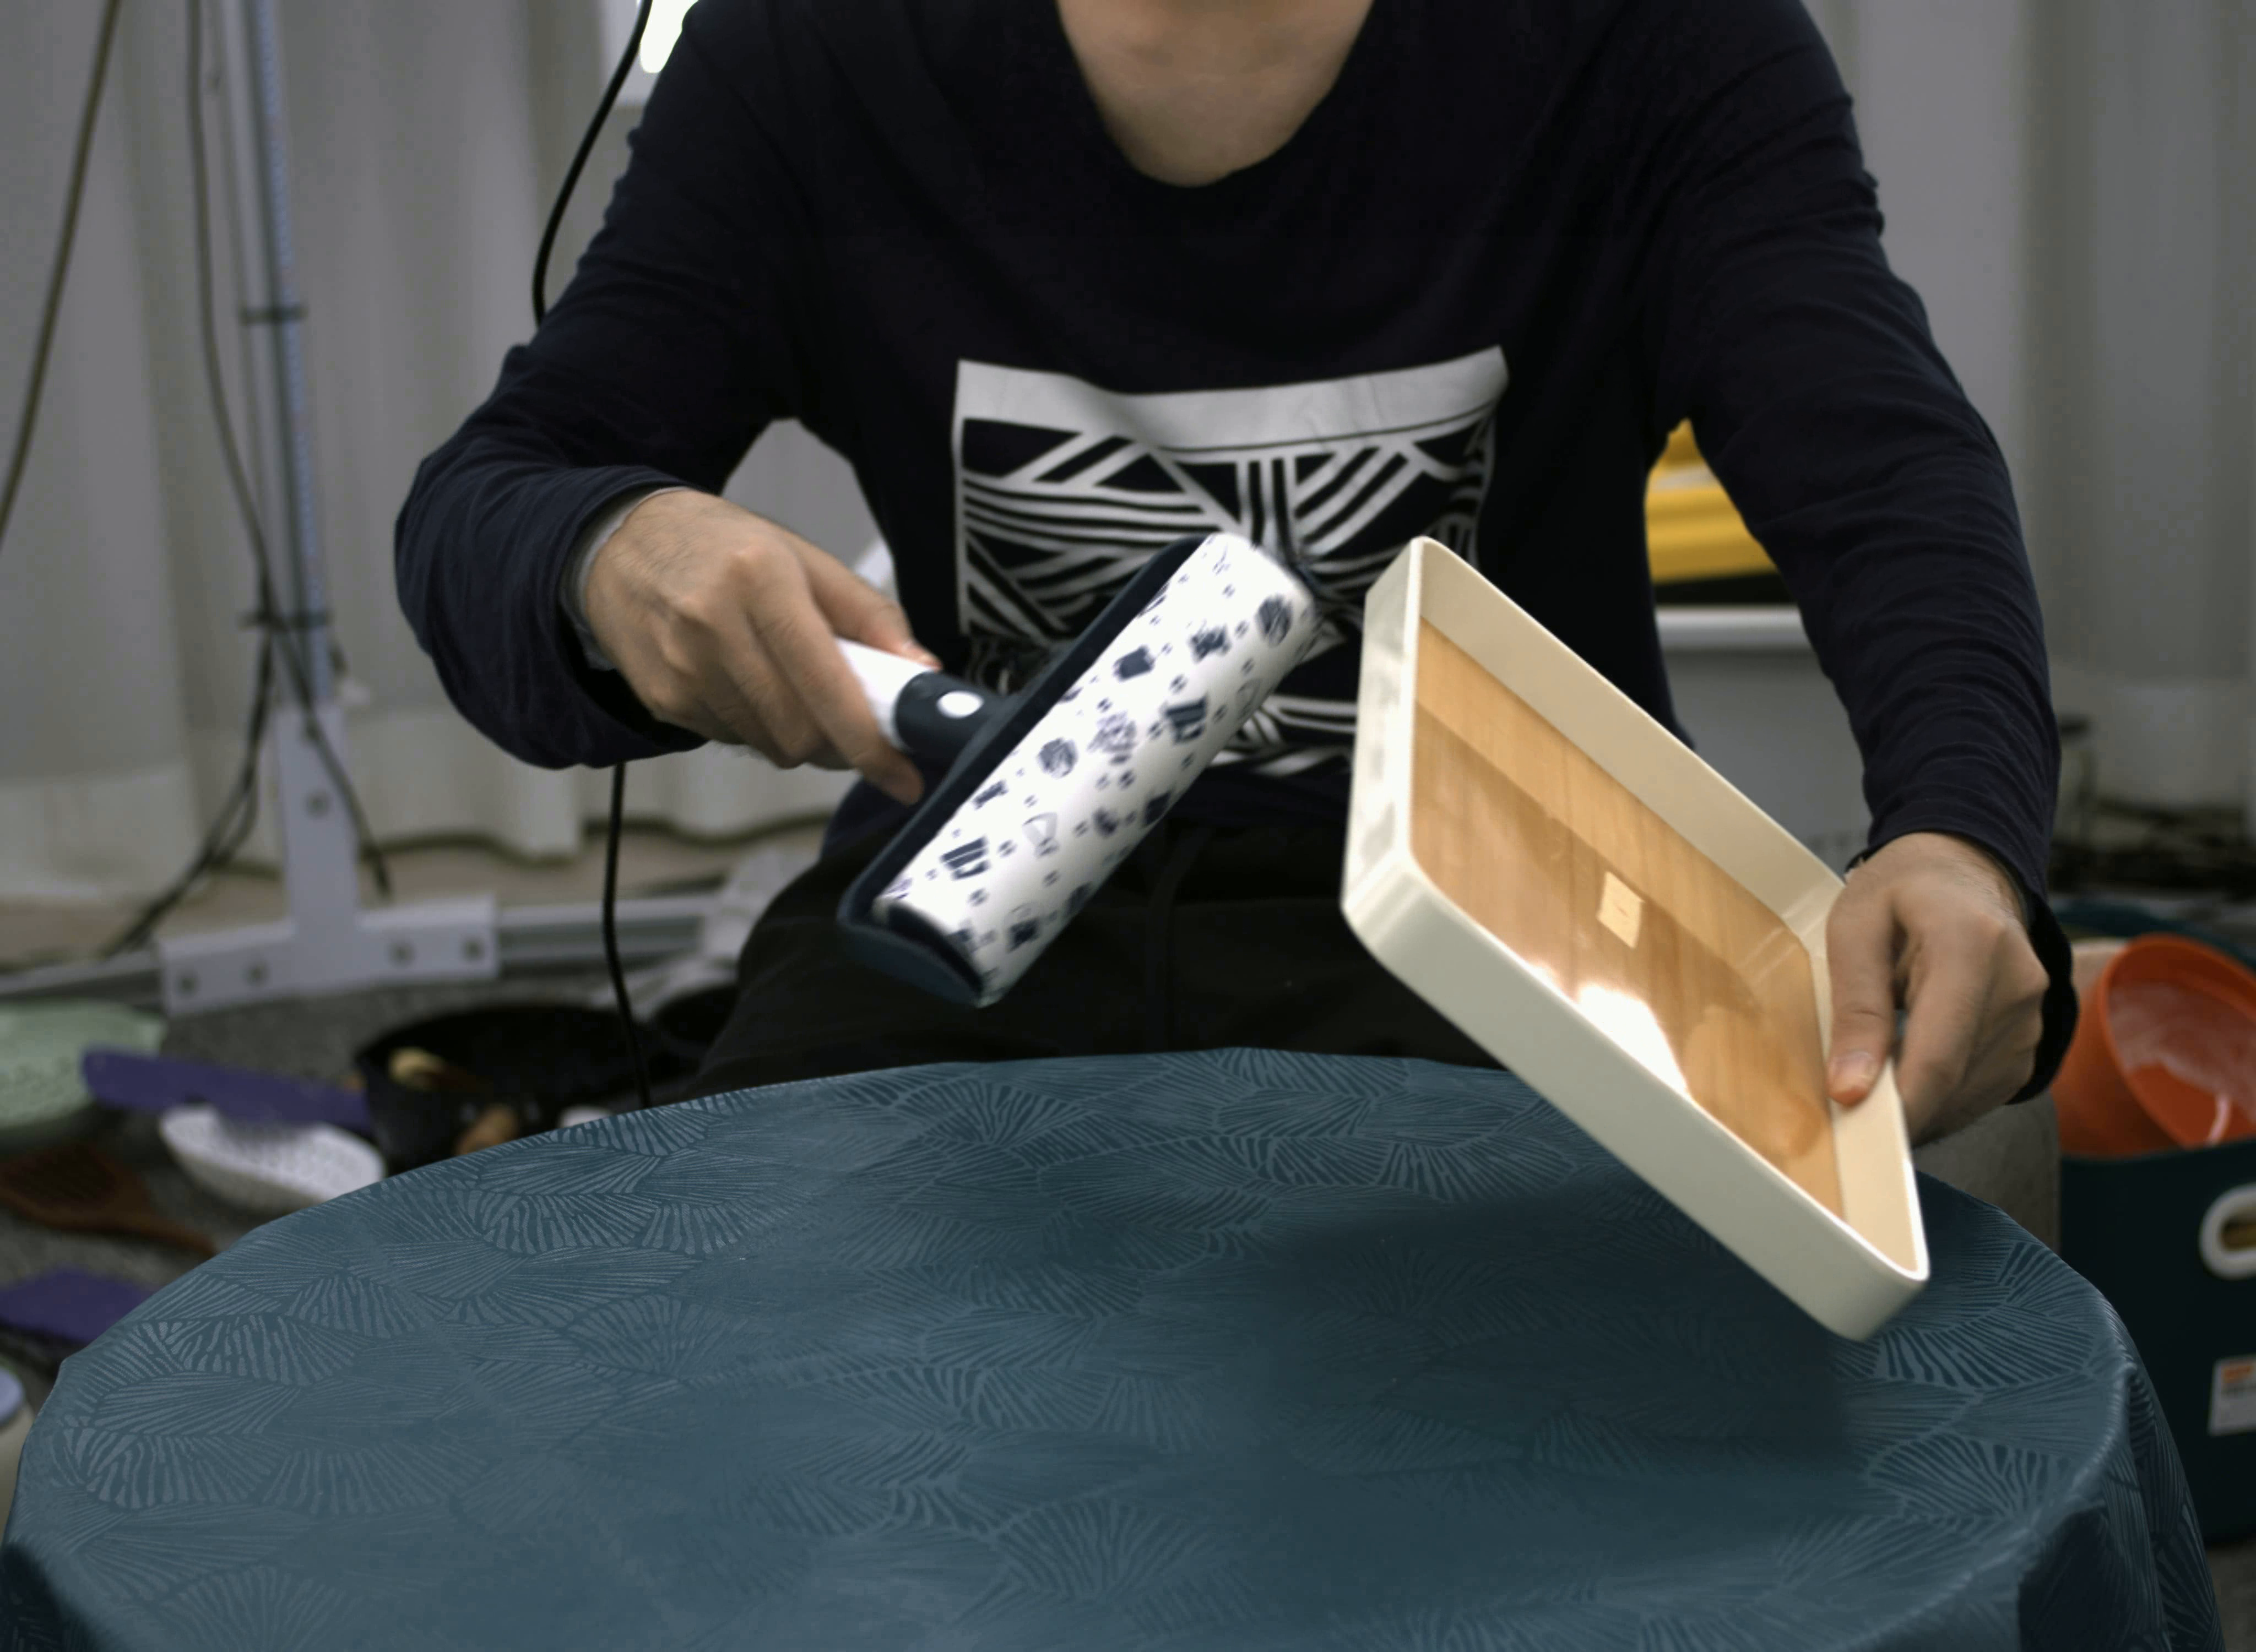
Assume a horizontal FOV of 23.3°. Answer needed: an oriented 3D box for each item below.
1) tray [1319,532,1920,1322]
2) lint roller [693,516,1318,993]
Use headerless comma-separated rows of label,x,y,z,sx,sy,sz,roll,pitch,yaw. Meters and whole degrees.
tray,0.140,0.022,1.574,0.191,0.027,0.303,37,19,-8
lint roller,-0.070,-0.040,1.754,0.249,0.050,0.177,16,59,49
